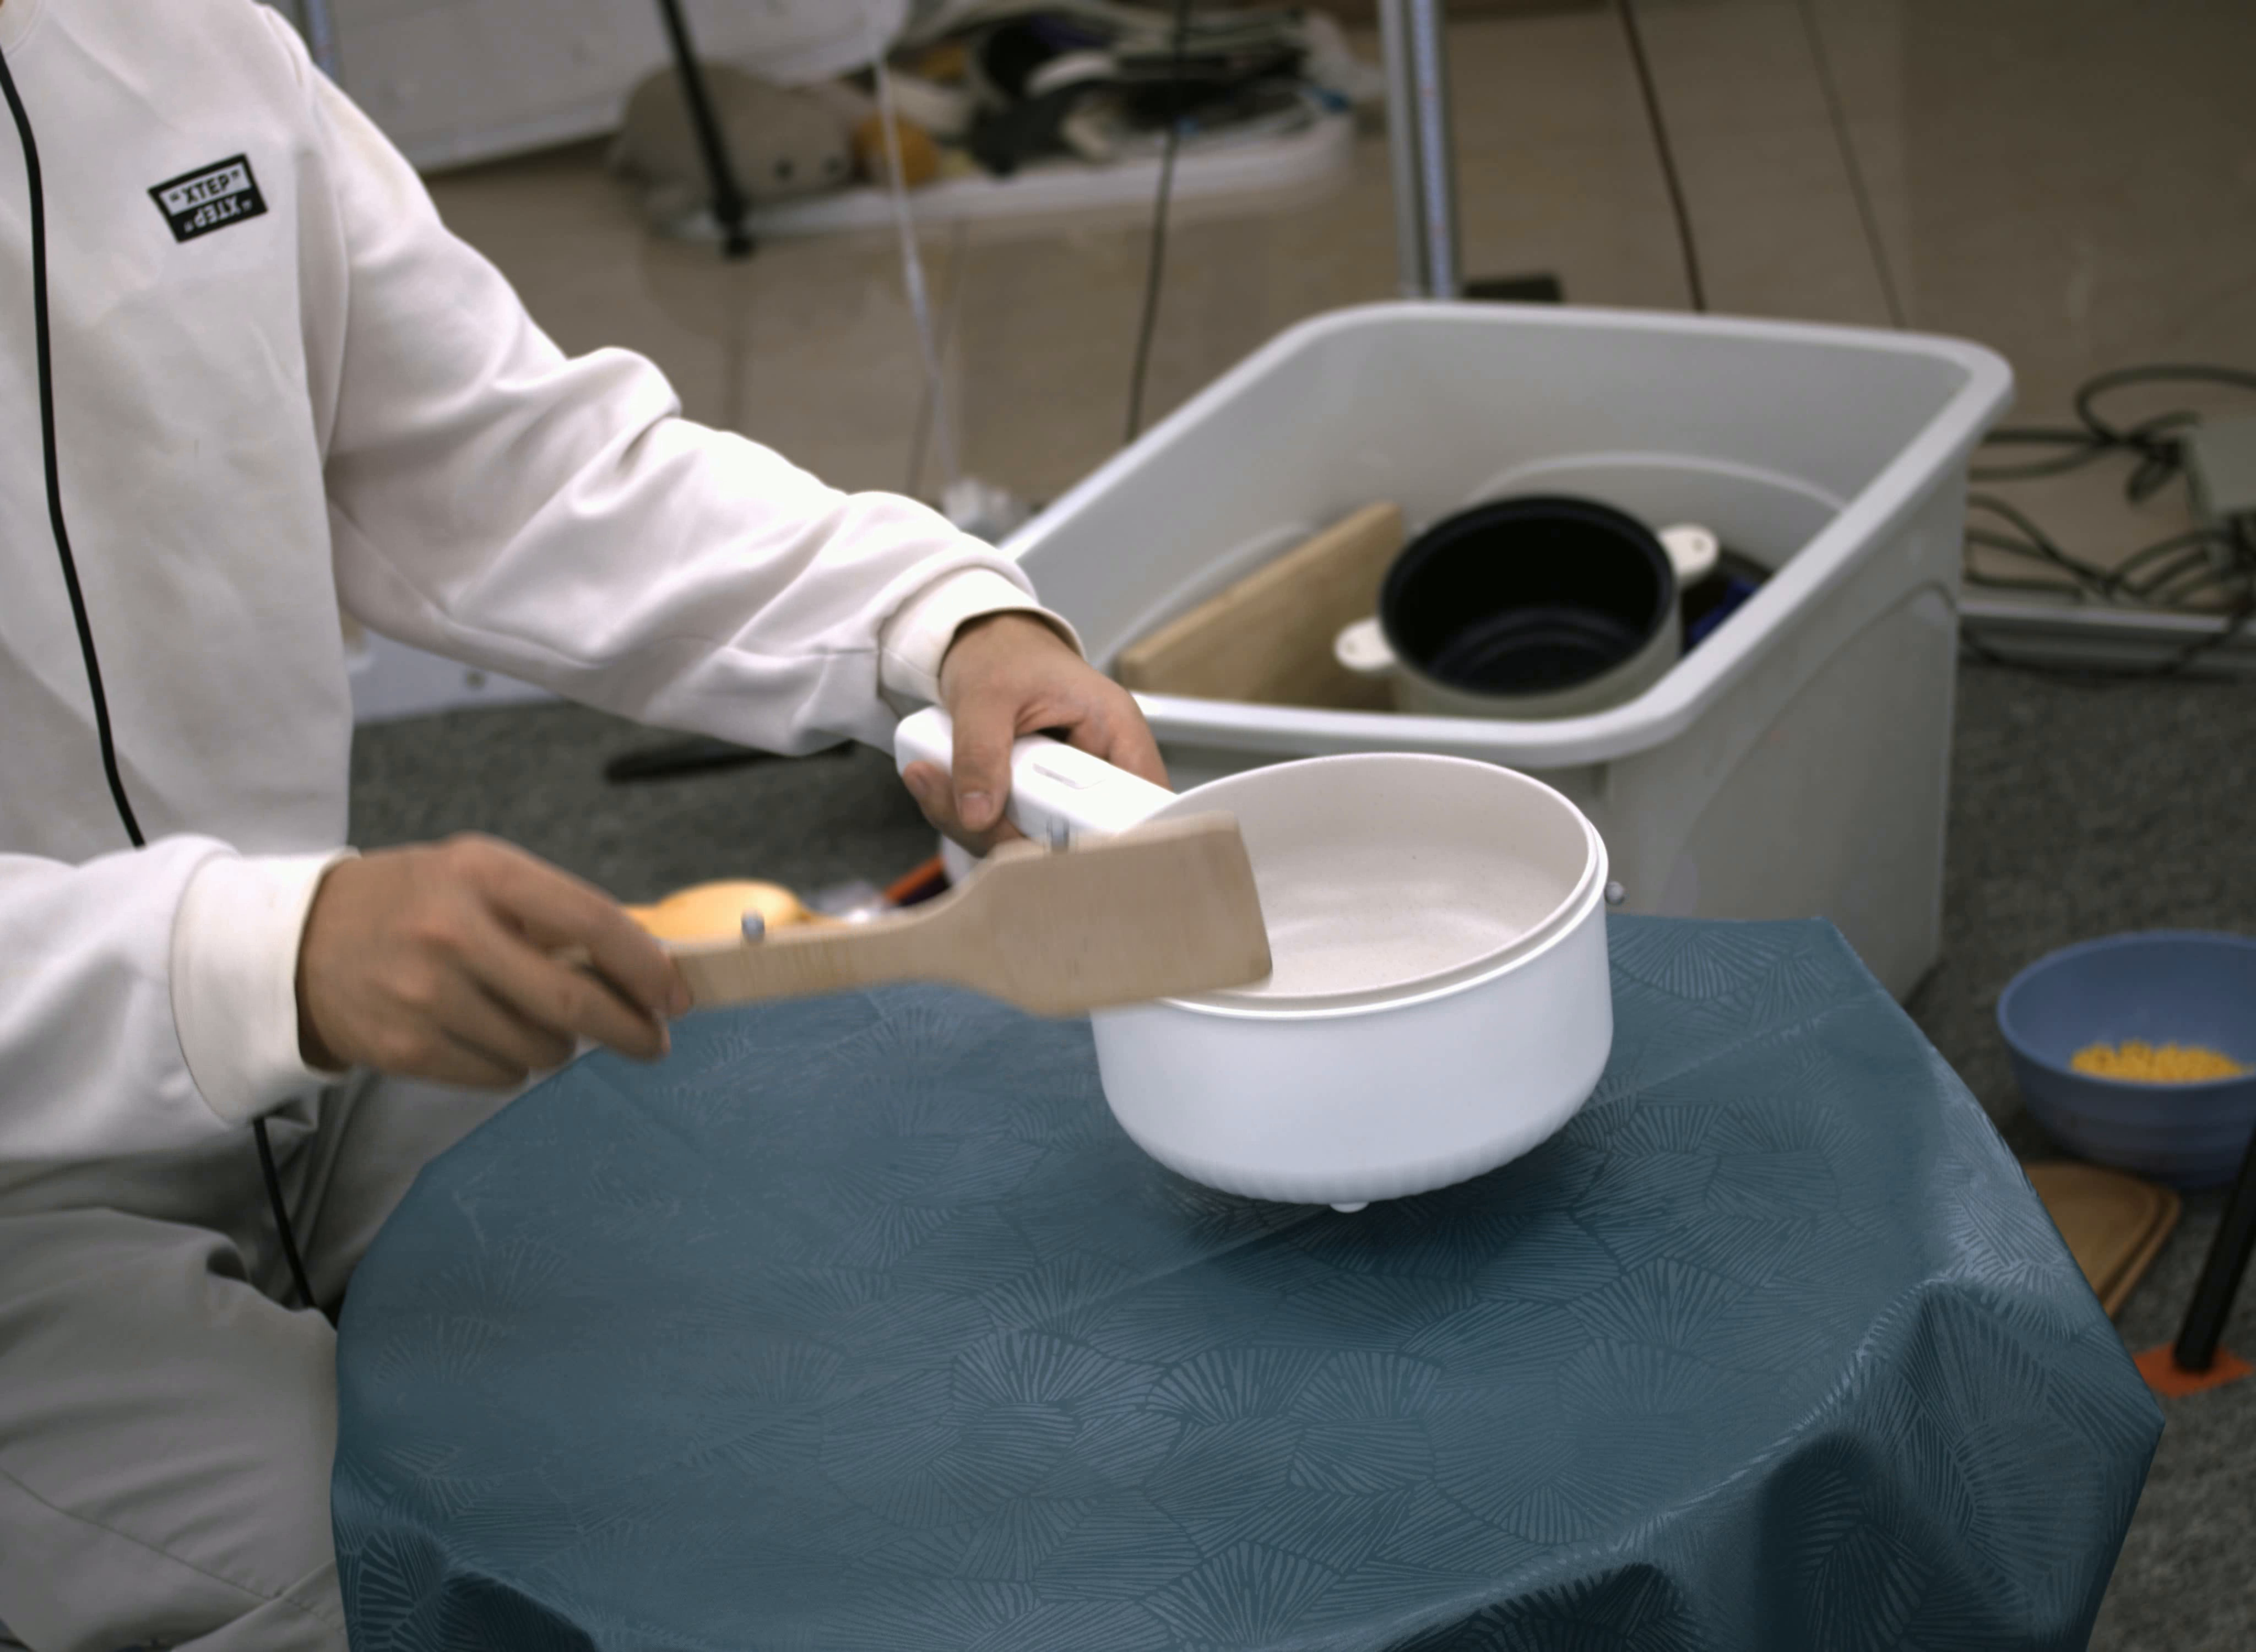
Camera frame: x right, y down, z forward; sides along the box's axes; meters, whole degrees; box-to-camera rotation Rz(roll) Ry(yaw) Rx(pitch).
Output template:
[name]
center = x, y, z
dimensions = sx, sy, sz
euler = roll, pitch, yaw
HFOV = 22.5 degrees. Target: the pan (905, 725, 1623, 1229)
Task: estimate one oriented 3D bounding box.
[pan]
center = 0.038, 0.049, 2.183
dimensions = 0.199, 0.104, 0.352
euler = -30, 31, -30
